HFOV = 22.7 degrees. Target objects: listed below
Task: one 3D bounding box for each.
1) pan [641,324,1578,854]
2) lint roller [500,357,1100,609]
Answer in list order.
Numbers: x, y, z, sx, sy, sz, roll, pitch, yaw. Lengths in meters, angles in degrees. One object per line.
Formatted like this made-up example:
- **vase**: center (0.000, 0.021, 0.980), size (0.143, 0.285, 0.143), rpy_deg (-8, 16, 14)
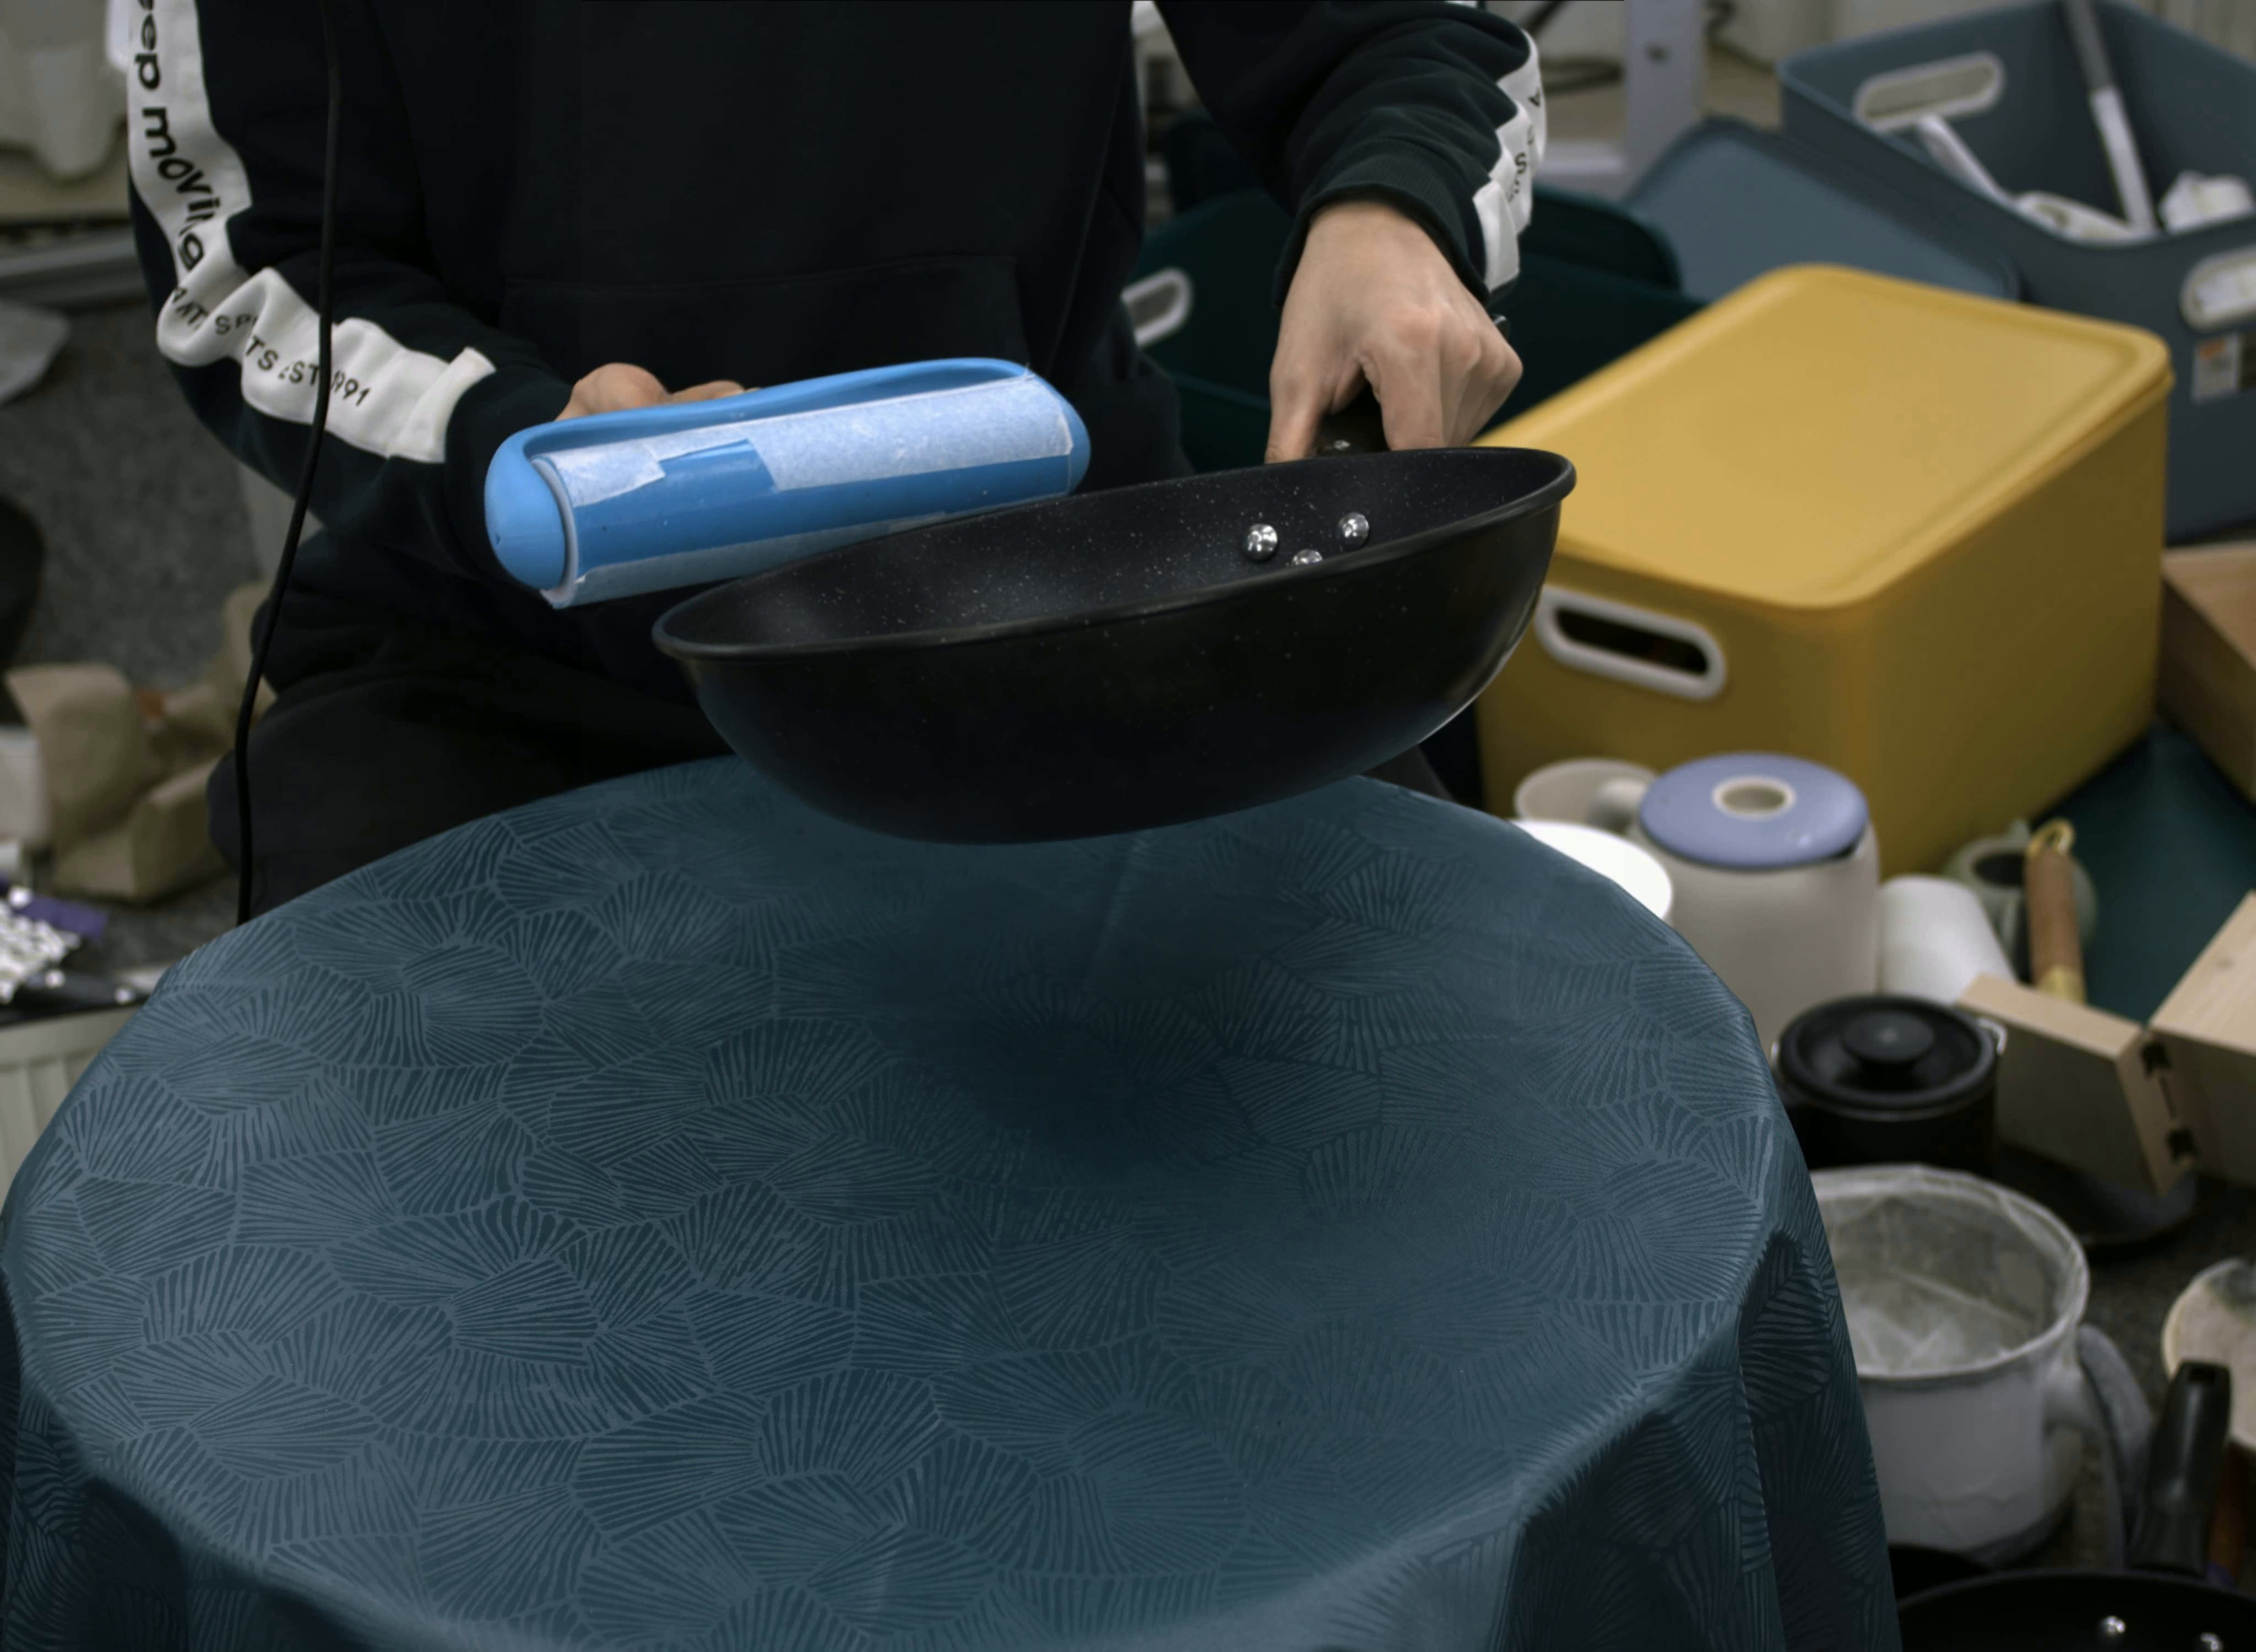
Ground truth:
- **pan**: center (0.034, -0.081, 1.922), size (0.307, 0.111, 0.482), rpy_deg (-3, 12, 27)
- **lint roller**: center (-0.142, -0.124, 2.033), size (0.230, 0.068, 0.179), rpy_deg (-14, 11, -30)
